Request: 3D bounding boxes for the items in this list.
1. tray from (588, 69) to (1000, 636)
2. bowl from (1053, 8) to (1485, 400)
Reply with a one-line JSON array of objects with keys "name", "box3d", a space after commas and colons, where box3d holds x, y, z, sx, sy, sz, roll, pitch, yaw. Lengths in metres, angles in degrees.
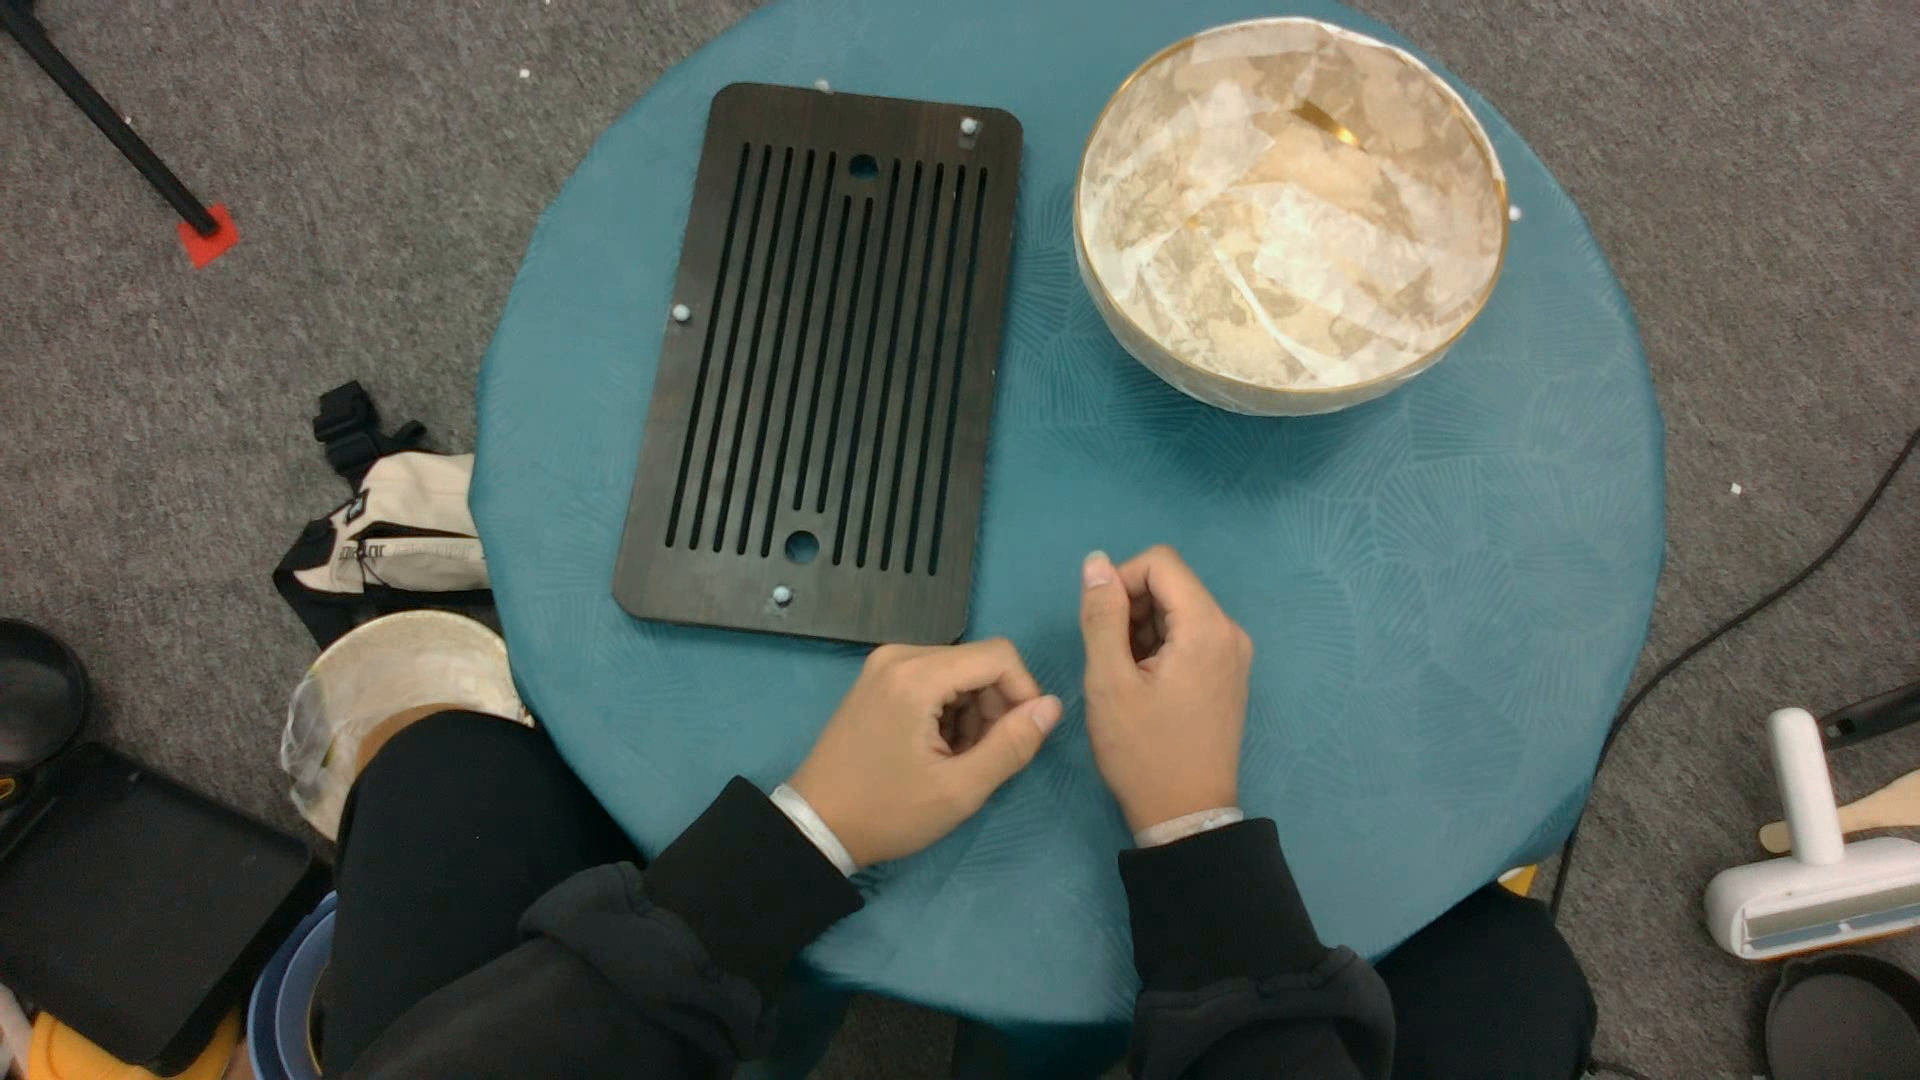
[{"name": "tray", "box3d": [-0.077, -0.104, 0.701, 0.170, 0.018, 0.307, 6, 70, 1]}, {"name": "bowl", "box3d": [0.141, -0.150, 0.682, 0.215, 0.094, 0.215, 1, 70, -2]}]
